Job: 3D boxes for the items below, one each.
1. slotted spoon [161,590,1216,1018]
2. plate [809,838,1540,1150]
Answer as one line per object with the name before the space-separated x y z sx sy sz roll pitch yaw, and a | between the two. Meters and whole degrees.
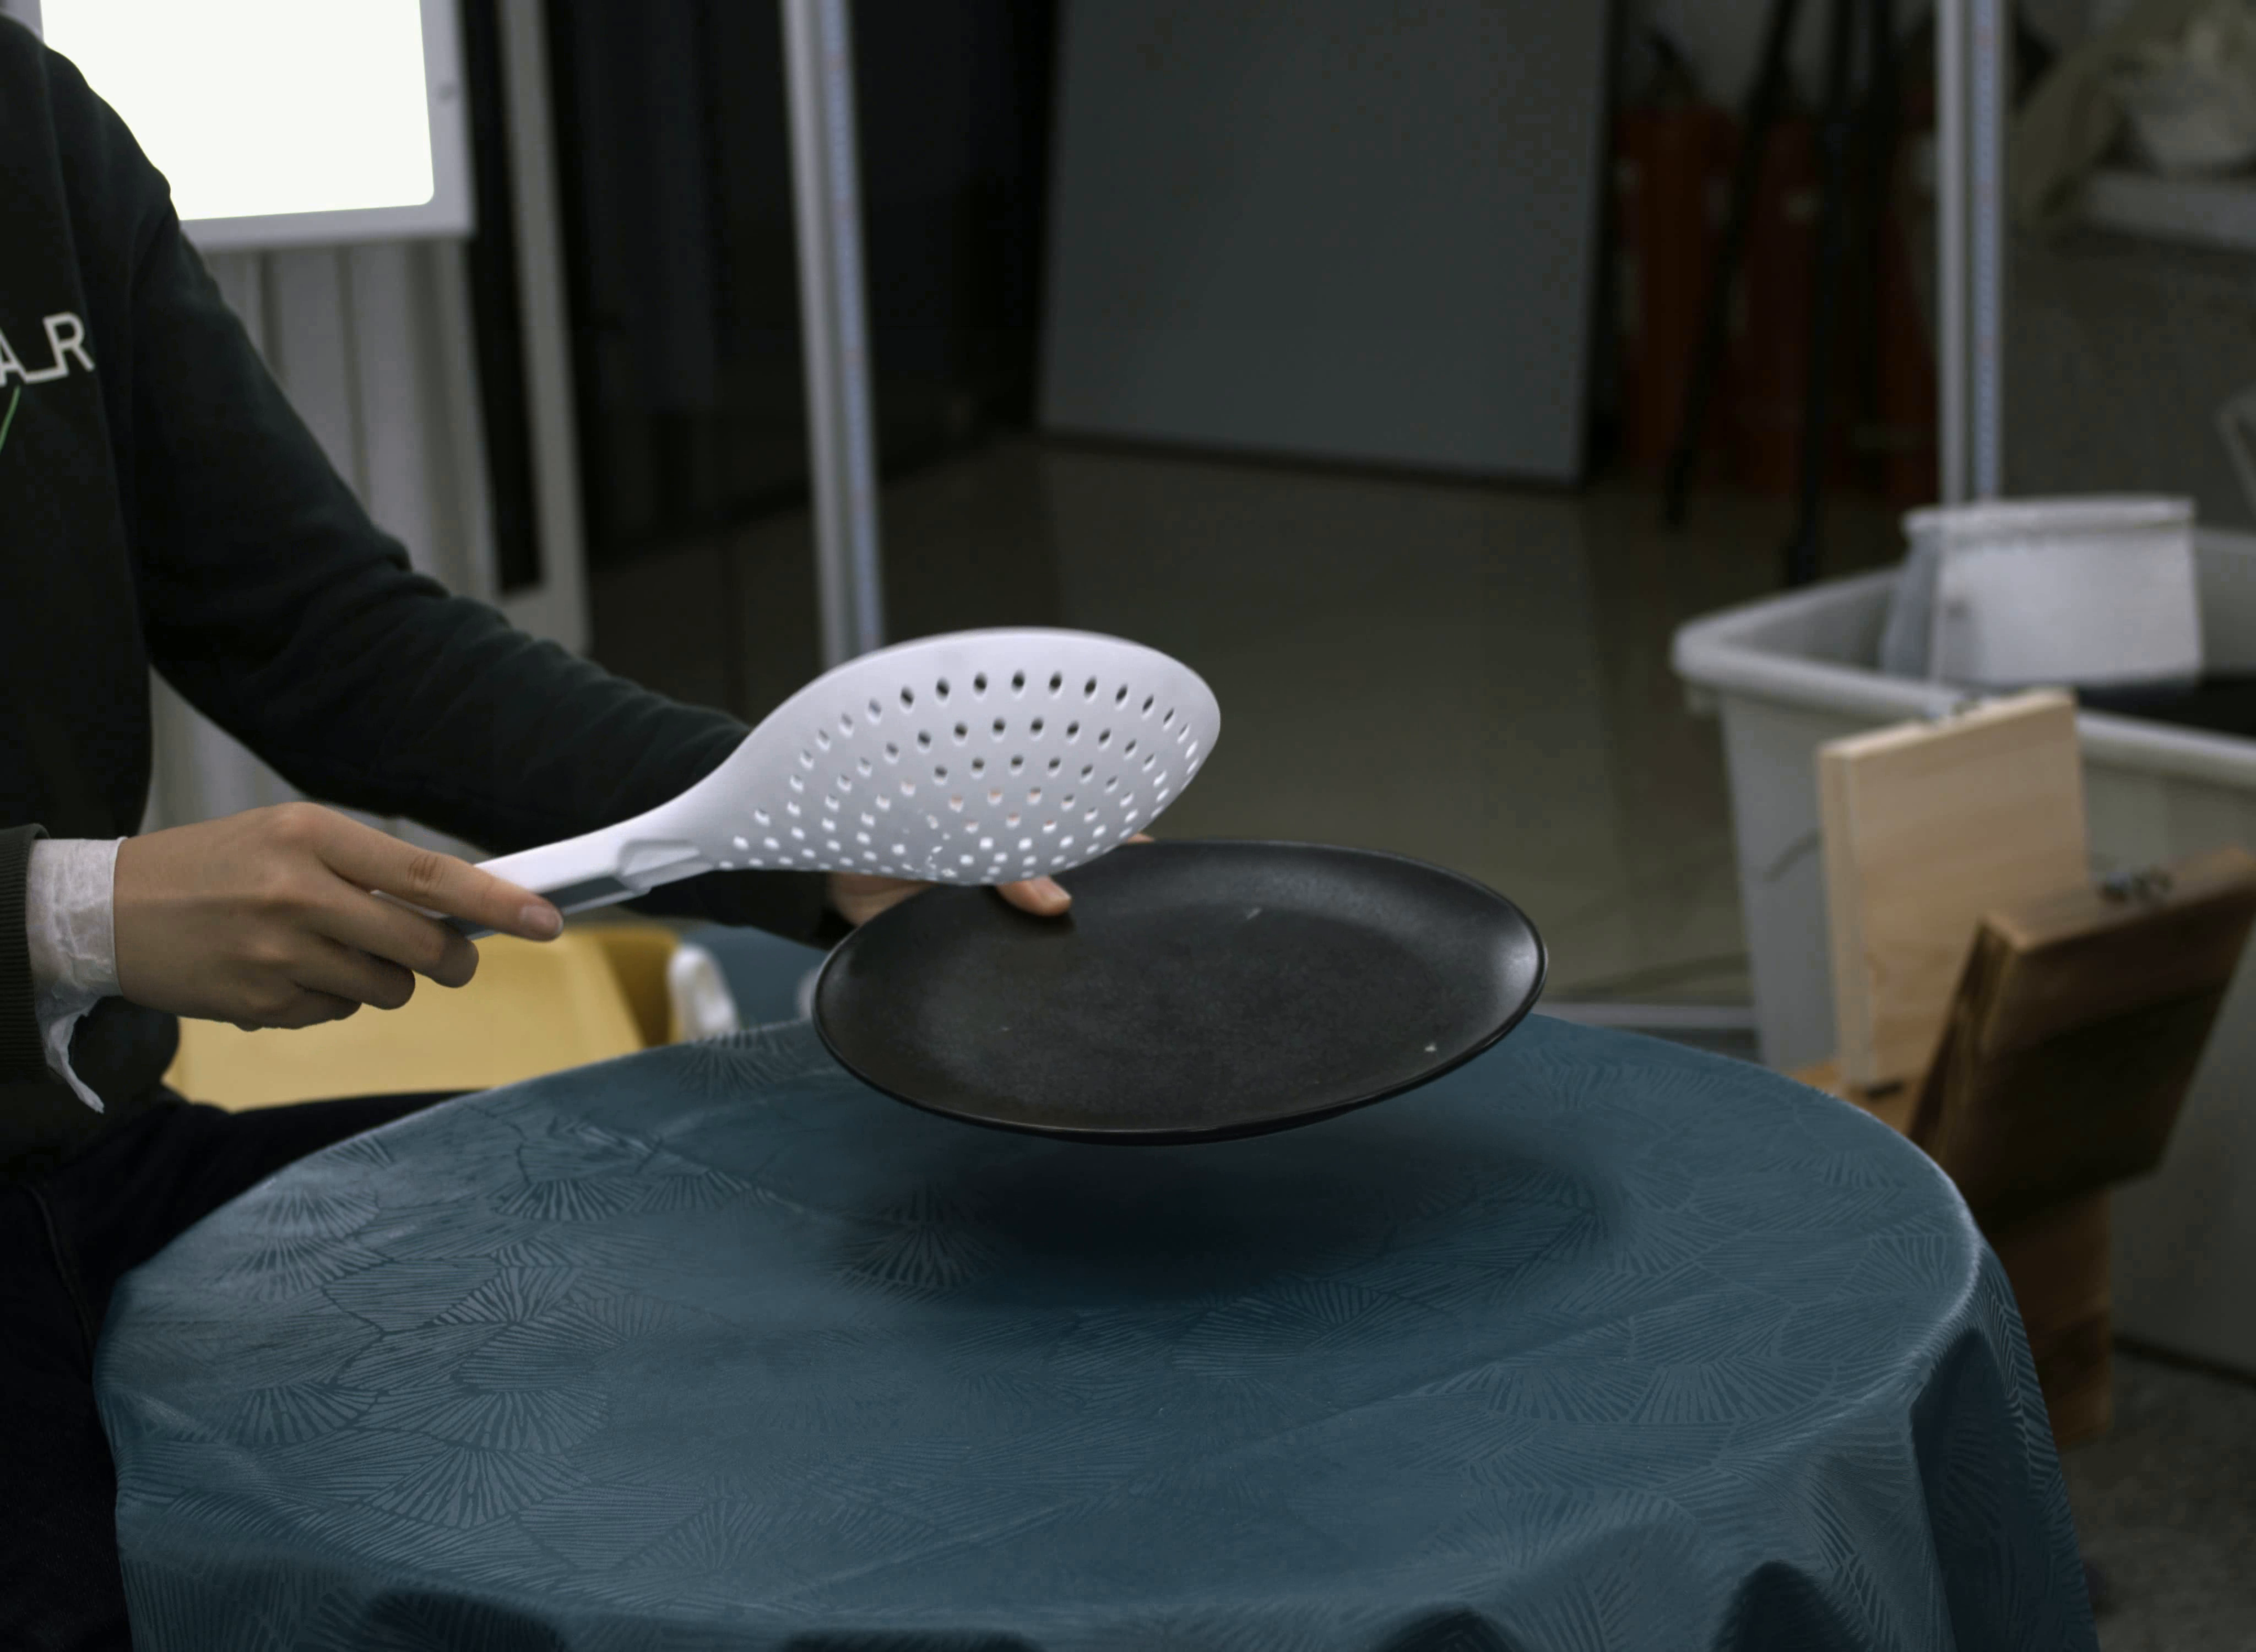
slotted spoon | -0.137 0.003 1.622 0.350 0.046 0.134 -12 -30 22
plate | 0.016 0.058 1.765 0.241 0.023 0.245 -5 21 1
